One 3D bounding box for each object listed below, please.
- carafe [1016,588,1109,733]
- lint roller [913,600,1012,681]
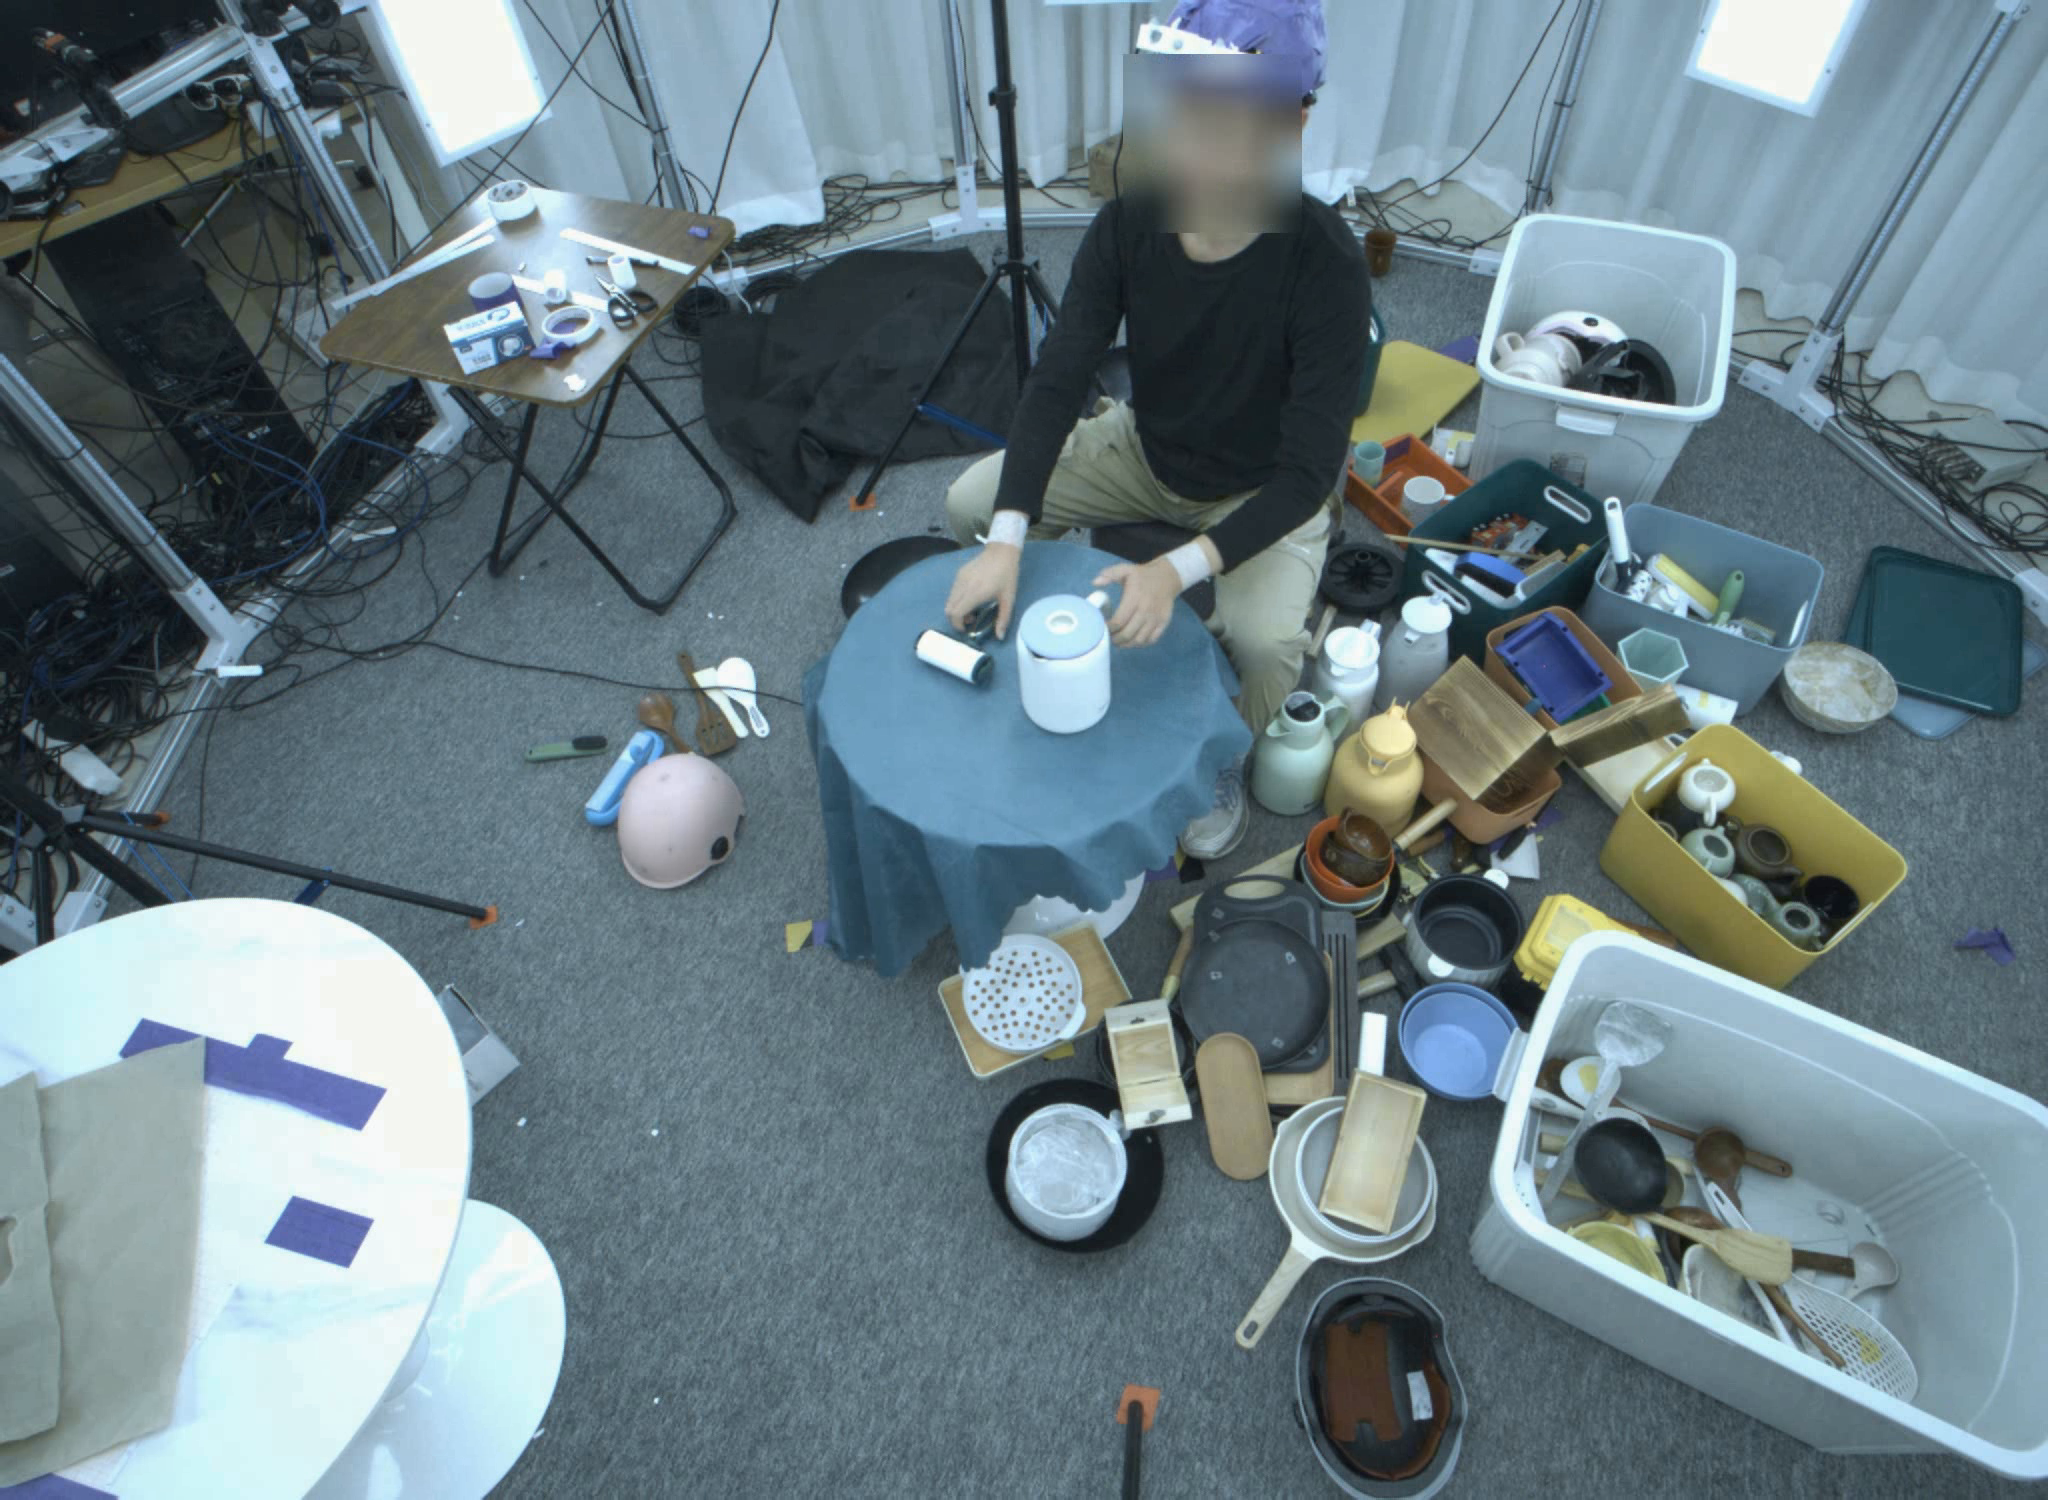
[{"bbox_3d":[0.070,-0.141,1.779,0.130,0.184,0.192,26,58,20],"label":"carafe"},{"bbox_3d":[-0.074,-0.189,1.898,0.132,0.049,0.181,26,57,19],"label":"lint roller"}]
